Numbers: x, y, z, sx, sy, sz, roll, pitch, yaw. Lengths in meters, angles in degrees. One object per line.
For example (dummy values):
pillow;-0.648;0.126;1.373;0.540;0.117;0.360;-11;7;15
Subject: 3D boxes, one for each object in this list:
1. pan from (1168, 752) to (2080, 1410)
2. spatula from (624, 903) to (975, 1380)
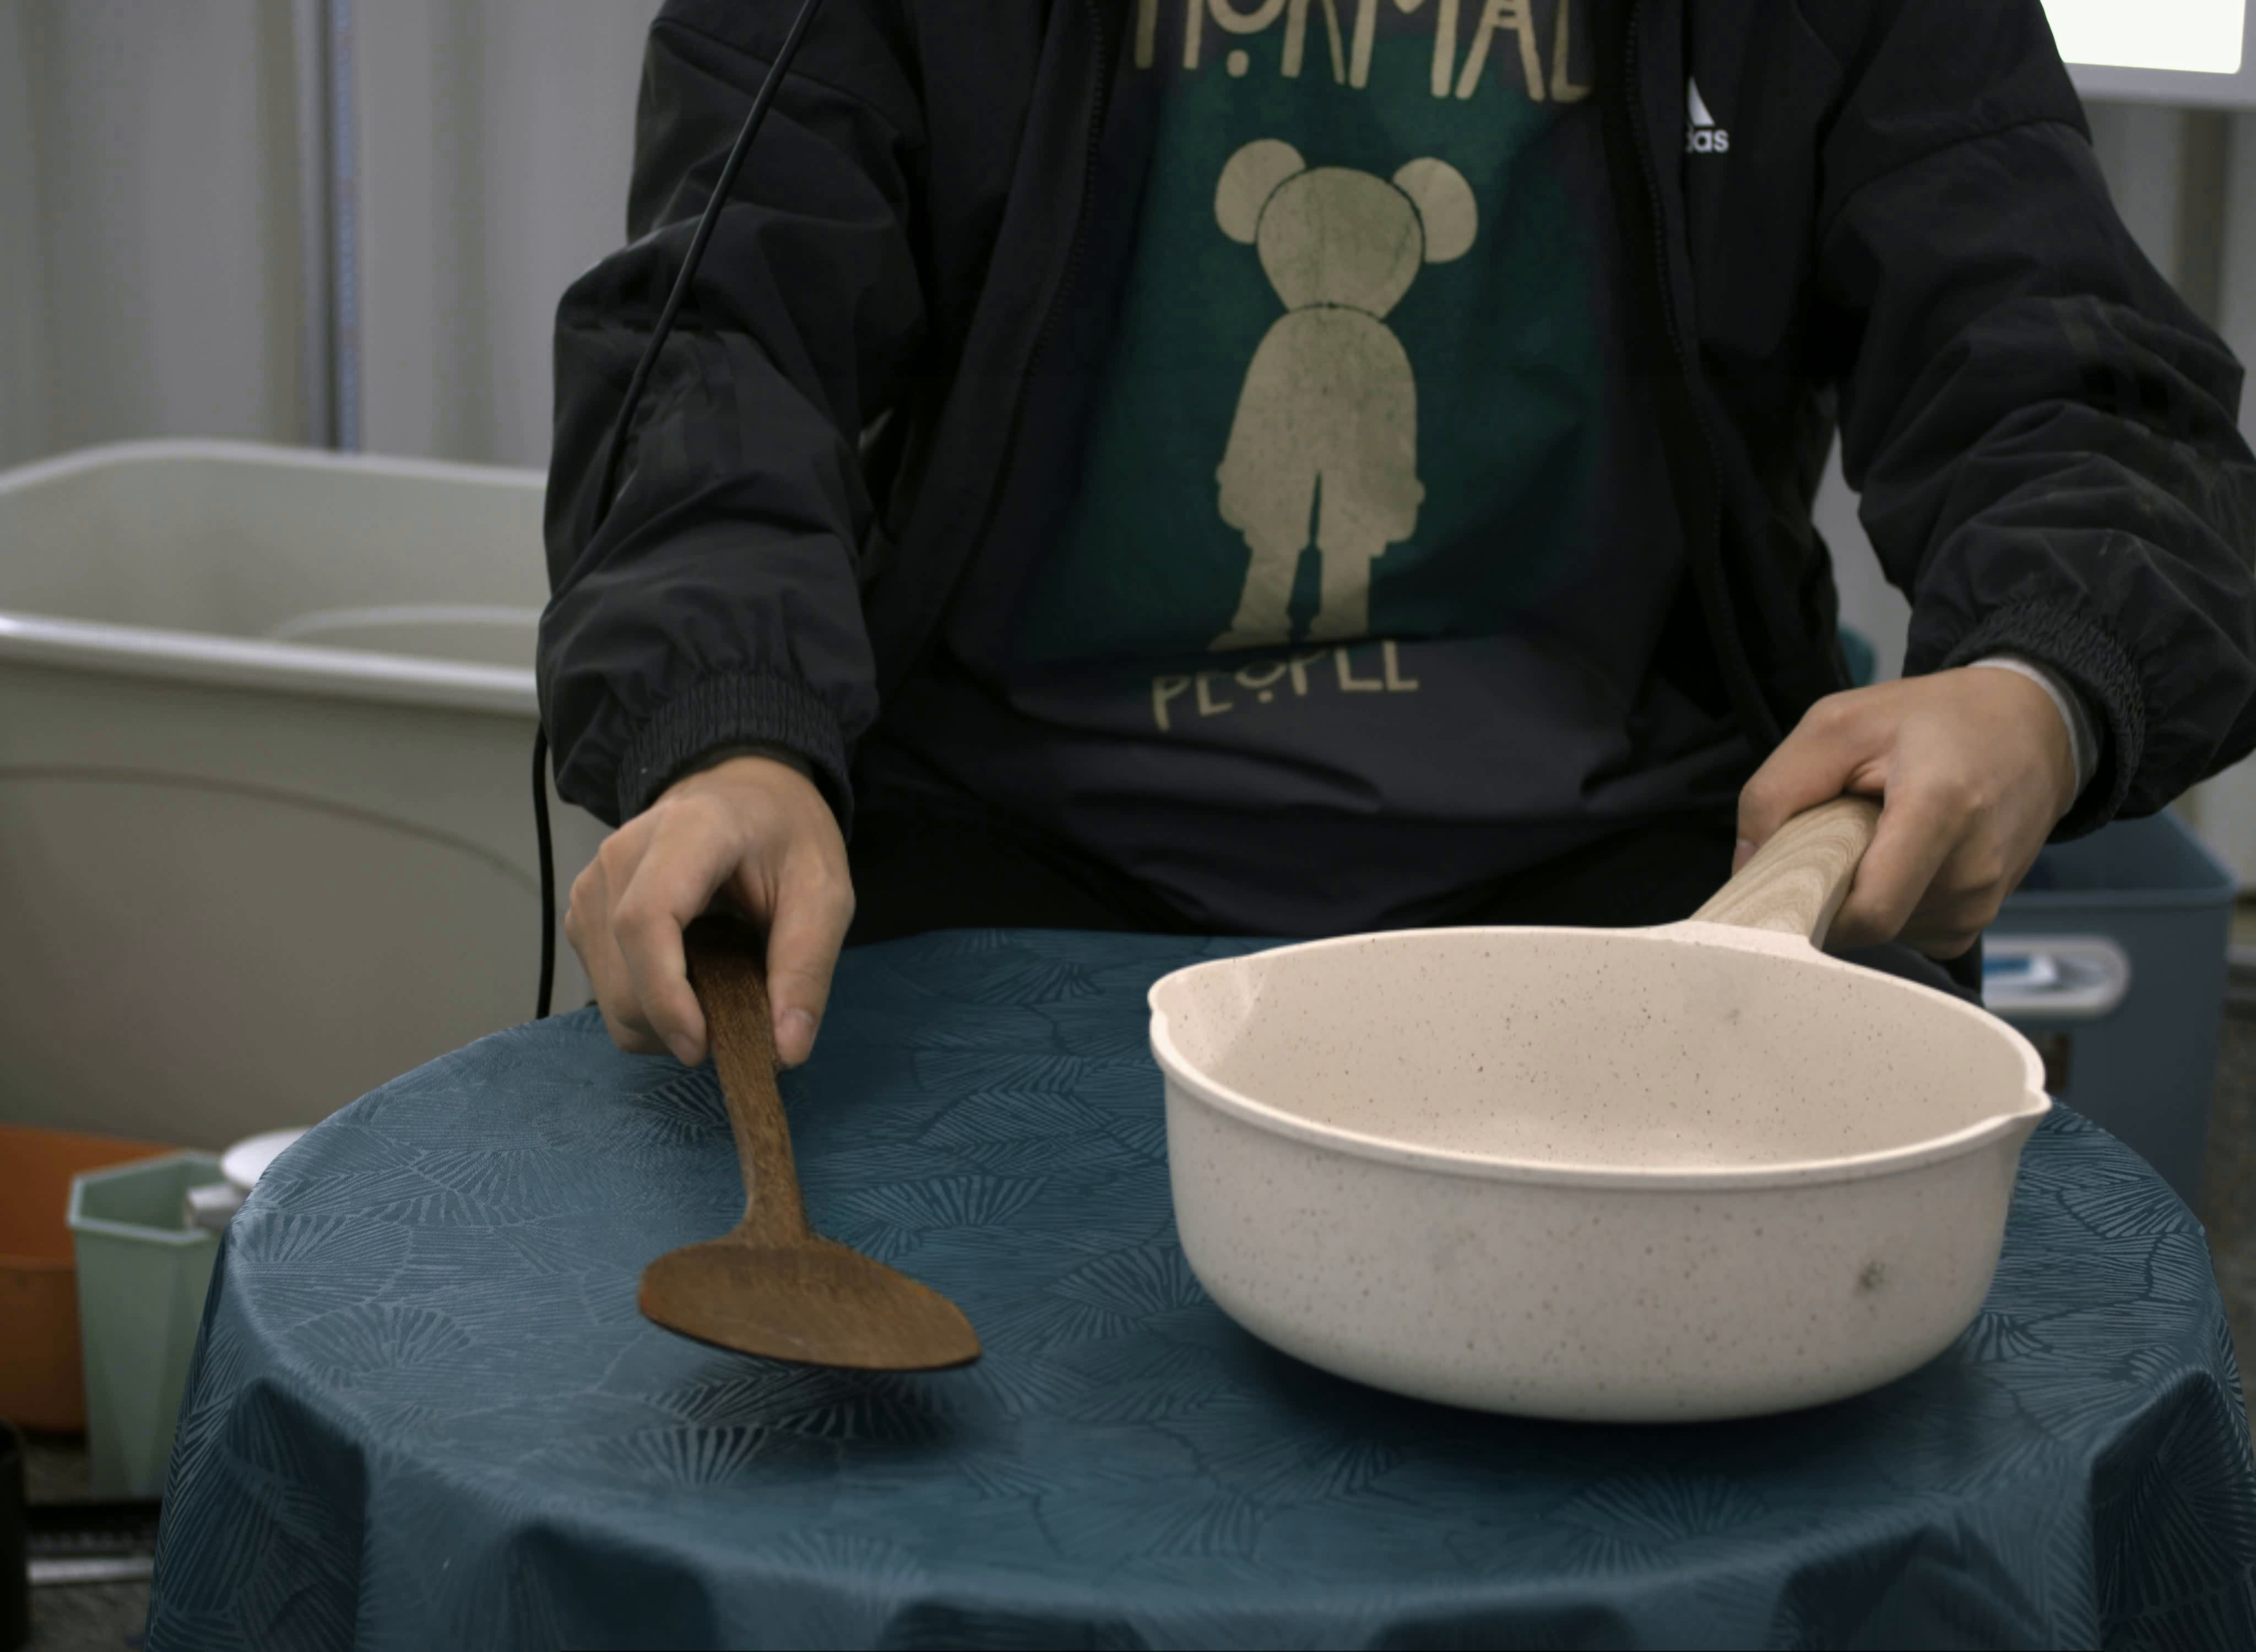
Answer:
pan;0.172;0.070;1.566;0.261;0.103;0.436;6;14;22
spatula;-0.112;0.086;1.574;0.096;0.016;0.382;7;17;-11
